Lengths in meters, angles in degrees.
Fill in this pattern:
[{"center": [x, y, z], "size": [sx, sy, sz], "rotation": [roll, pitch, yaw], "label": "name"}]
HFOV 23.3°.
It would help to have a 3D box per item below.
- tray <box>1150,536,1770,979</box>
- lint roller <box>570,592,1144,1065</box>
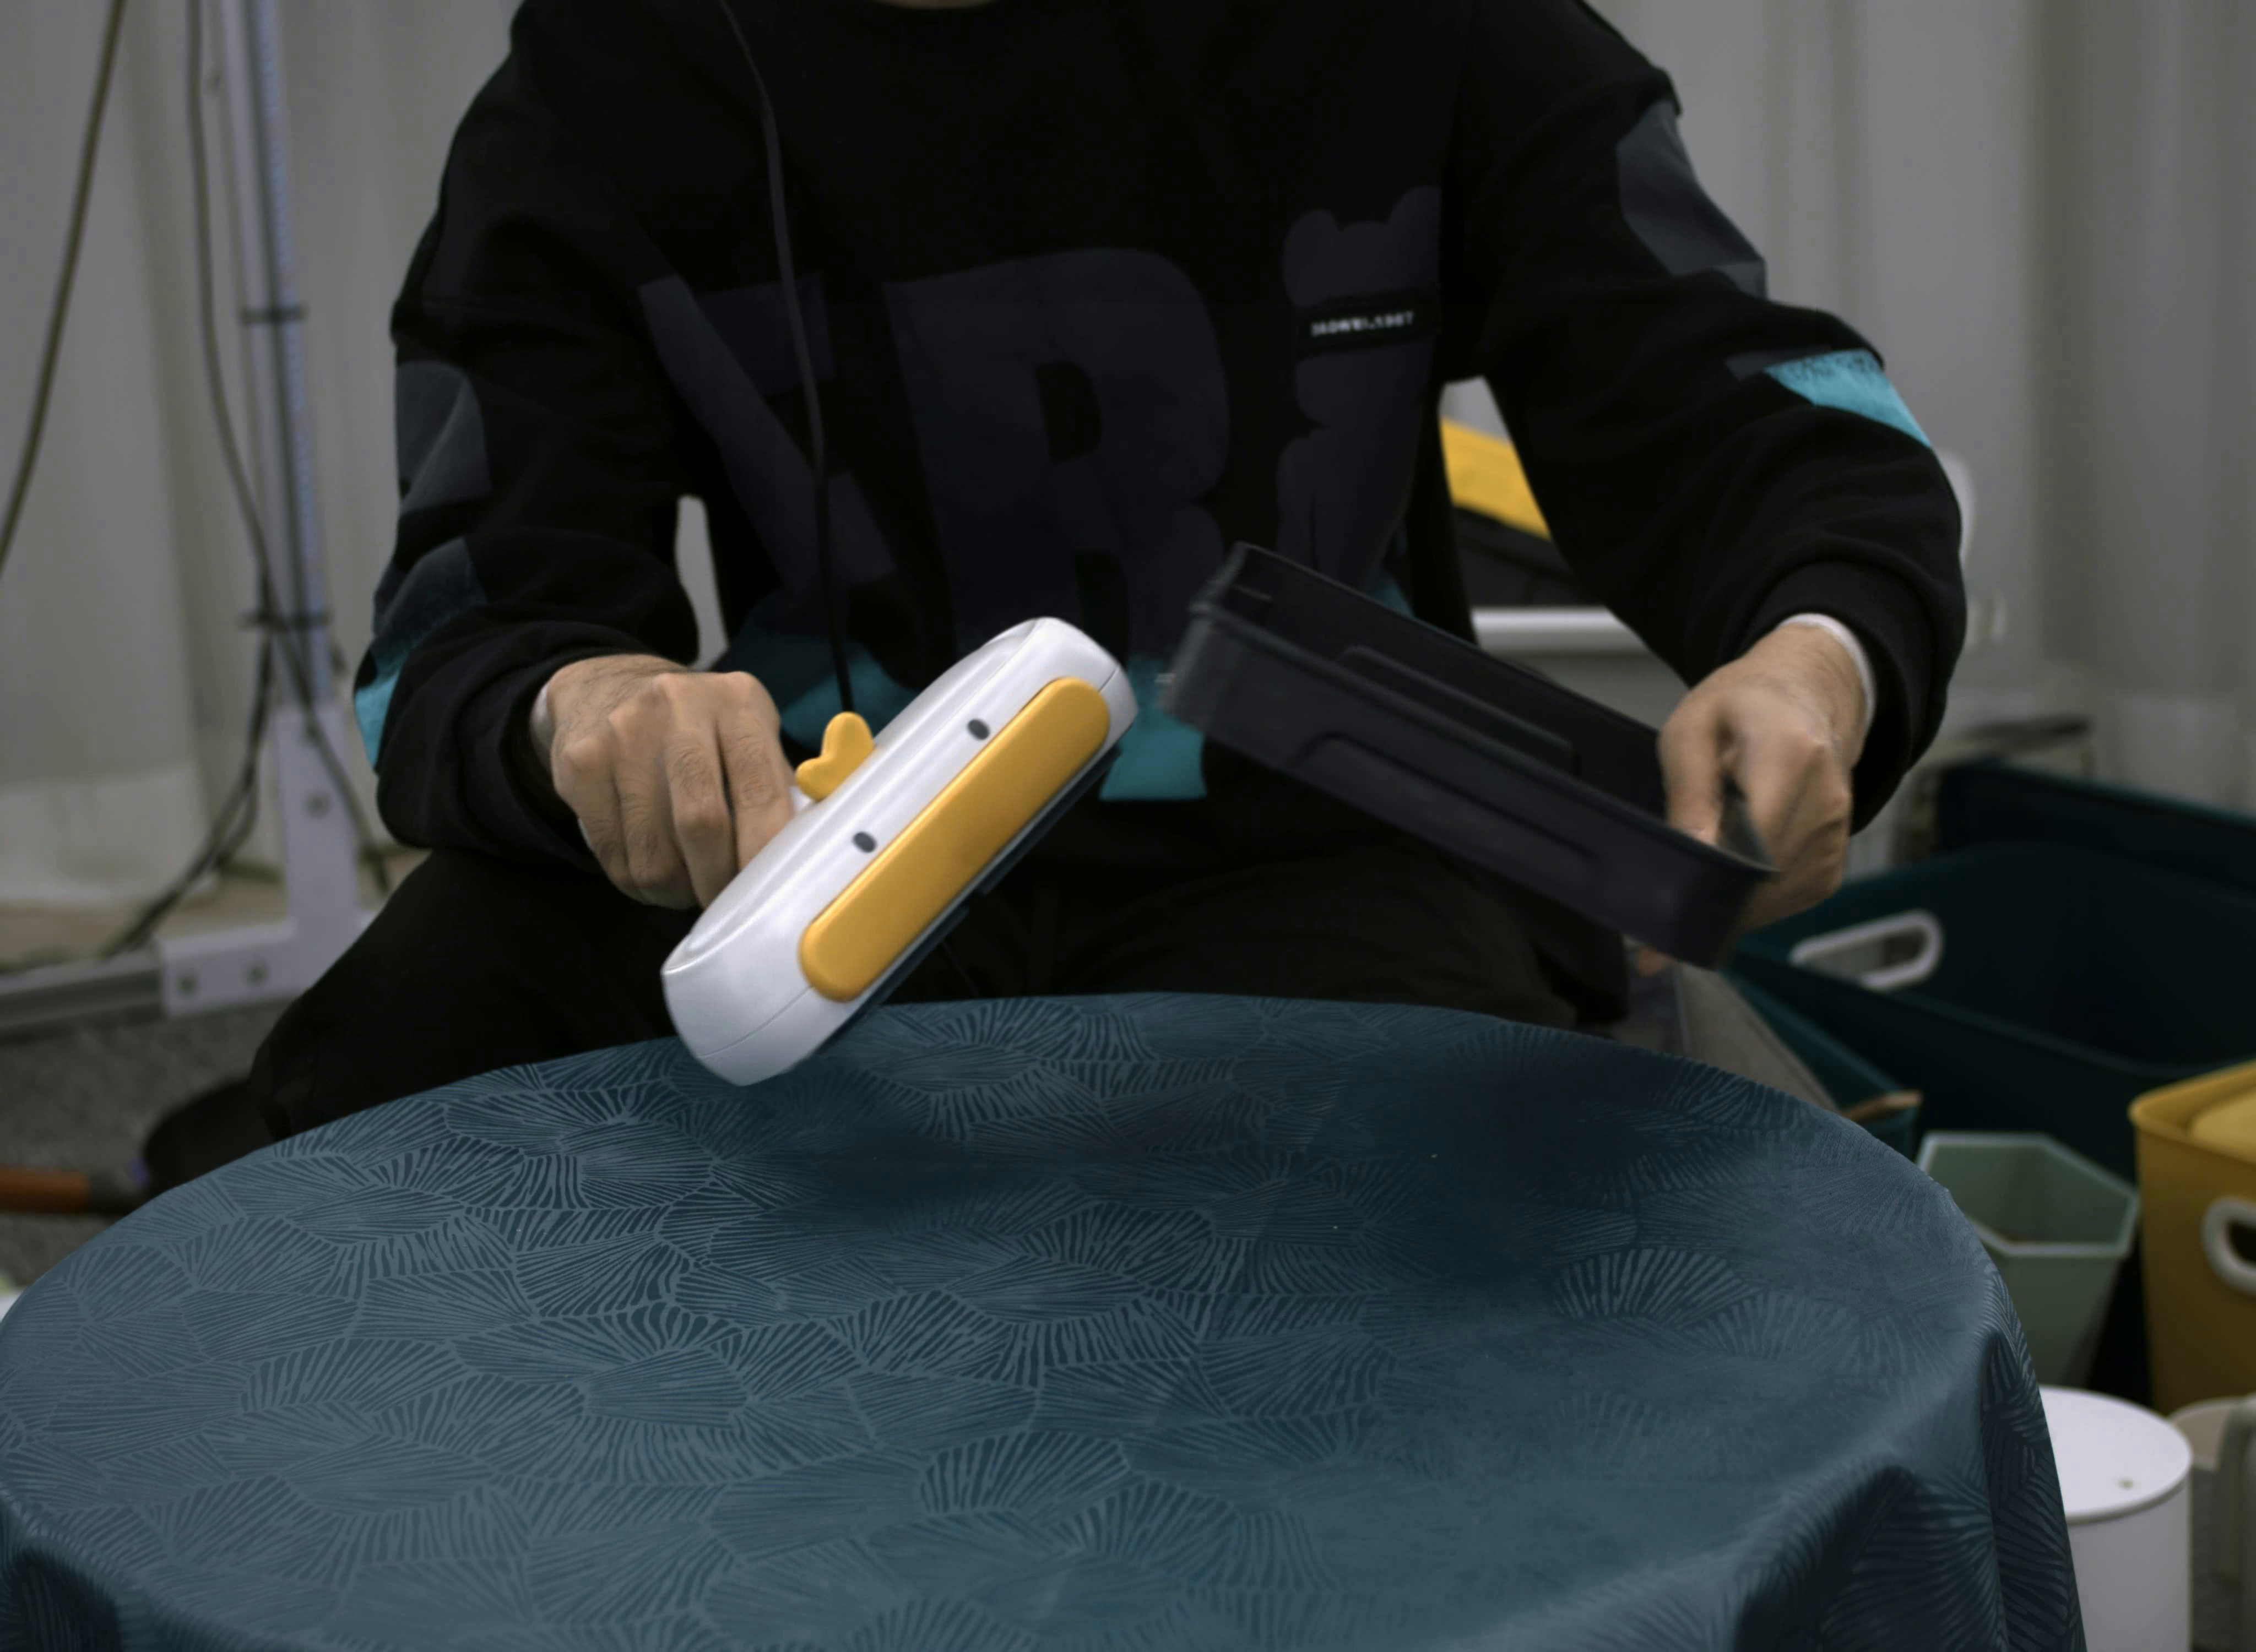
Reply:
[{"center": [0.100, -0.026, 1.693], "size": [0.184, 0.037, 0.319], "rotation": [25, 8, 0], "label": "tray"}, {"center": [-0.108, 0.001, 1.780], "size": [0.192, 0.073, 0.194], "rotation": [-11, 35, 50], "label": "lint roller"}]
